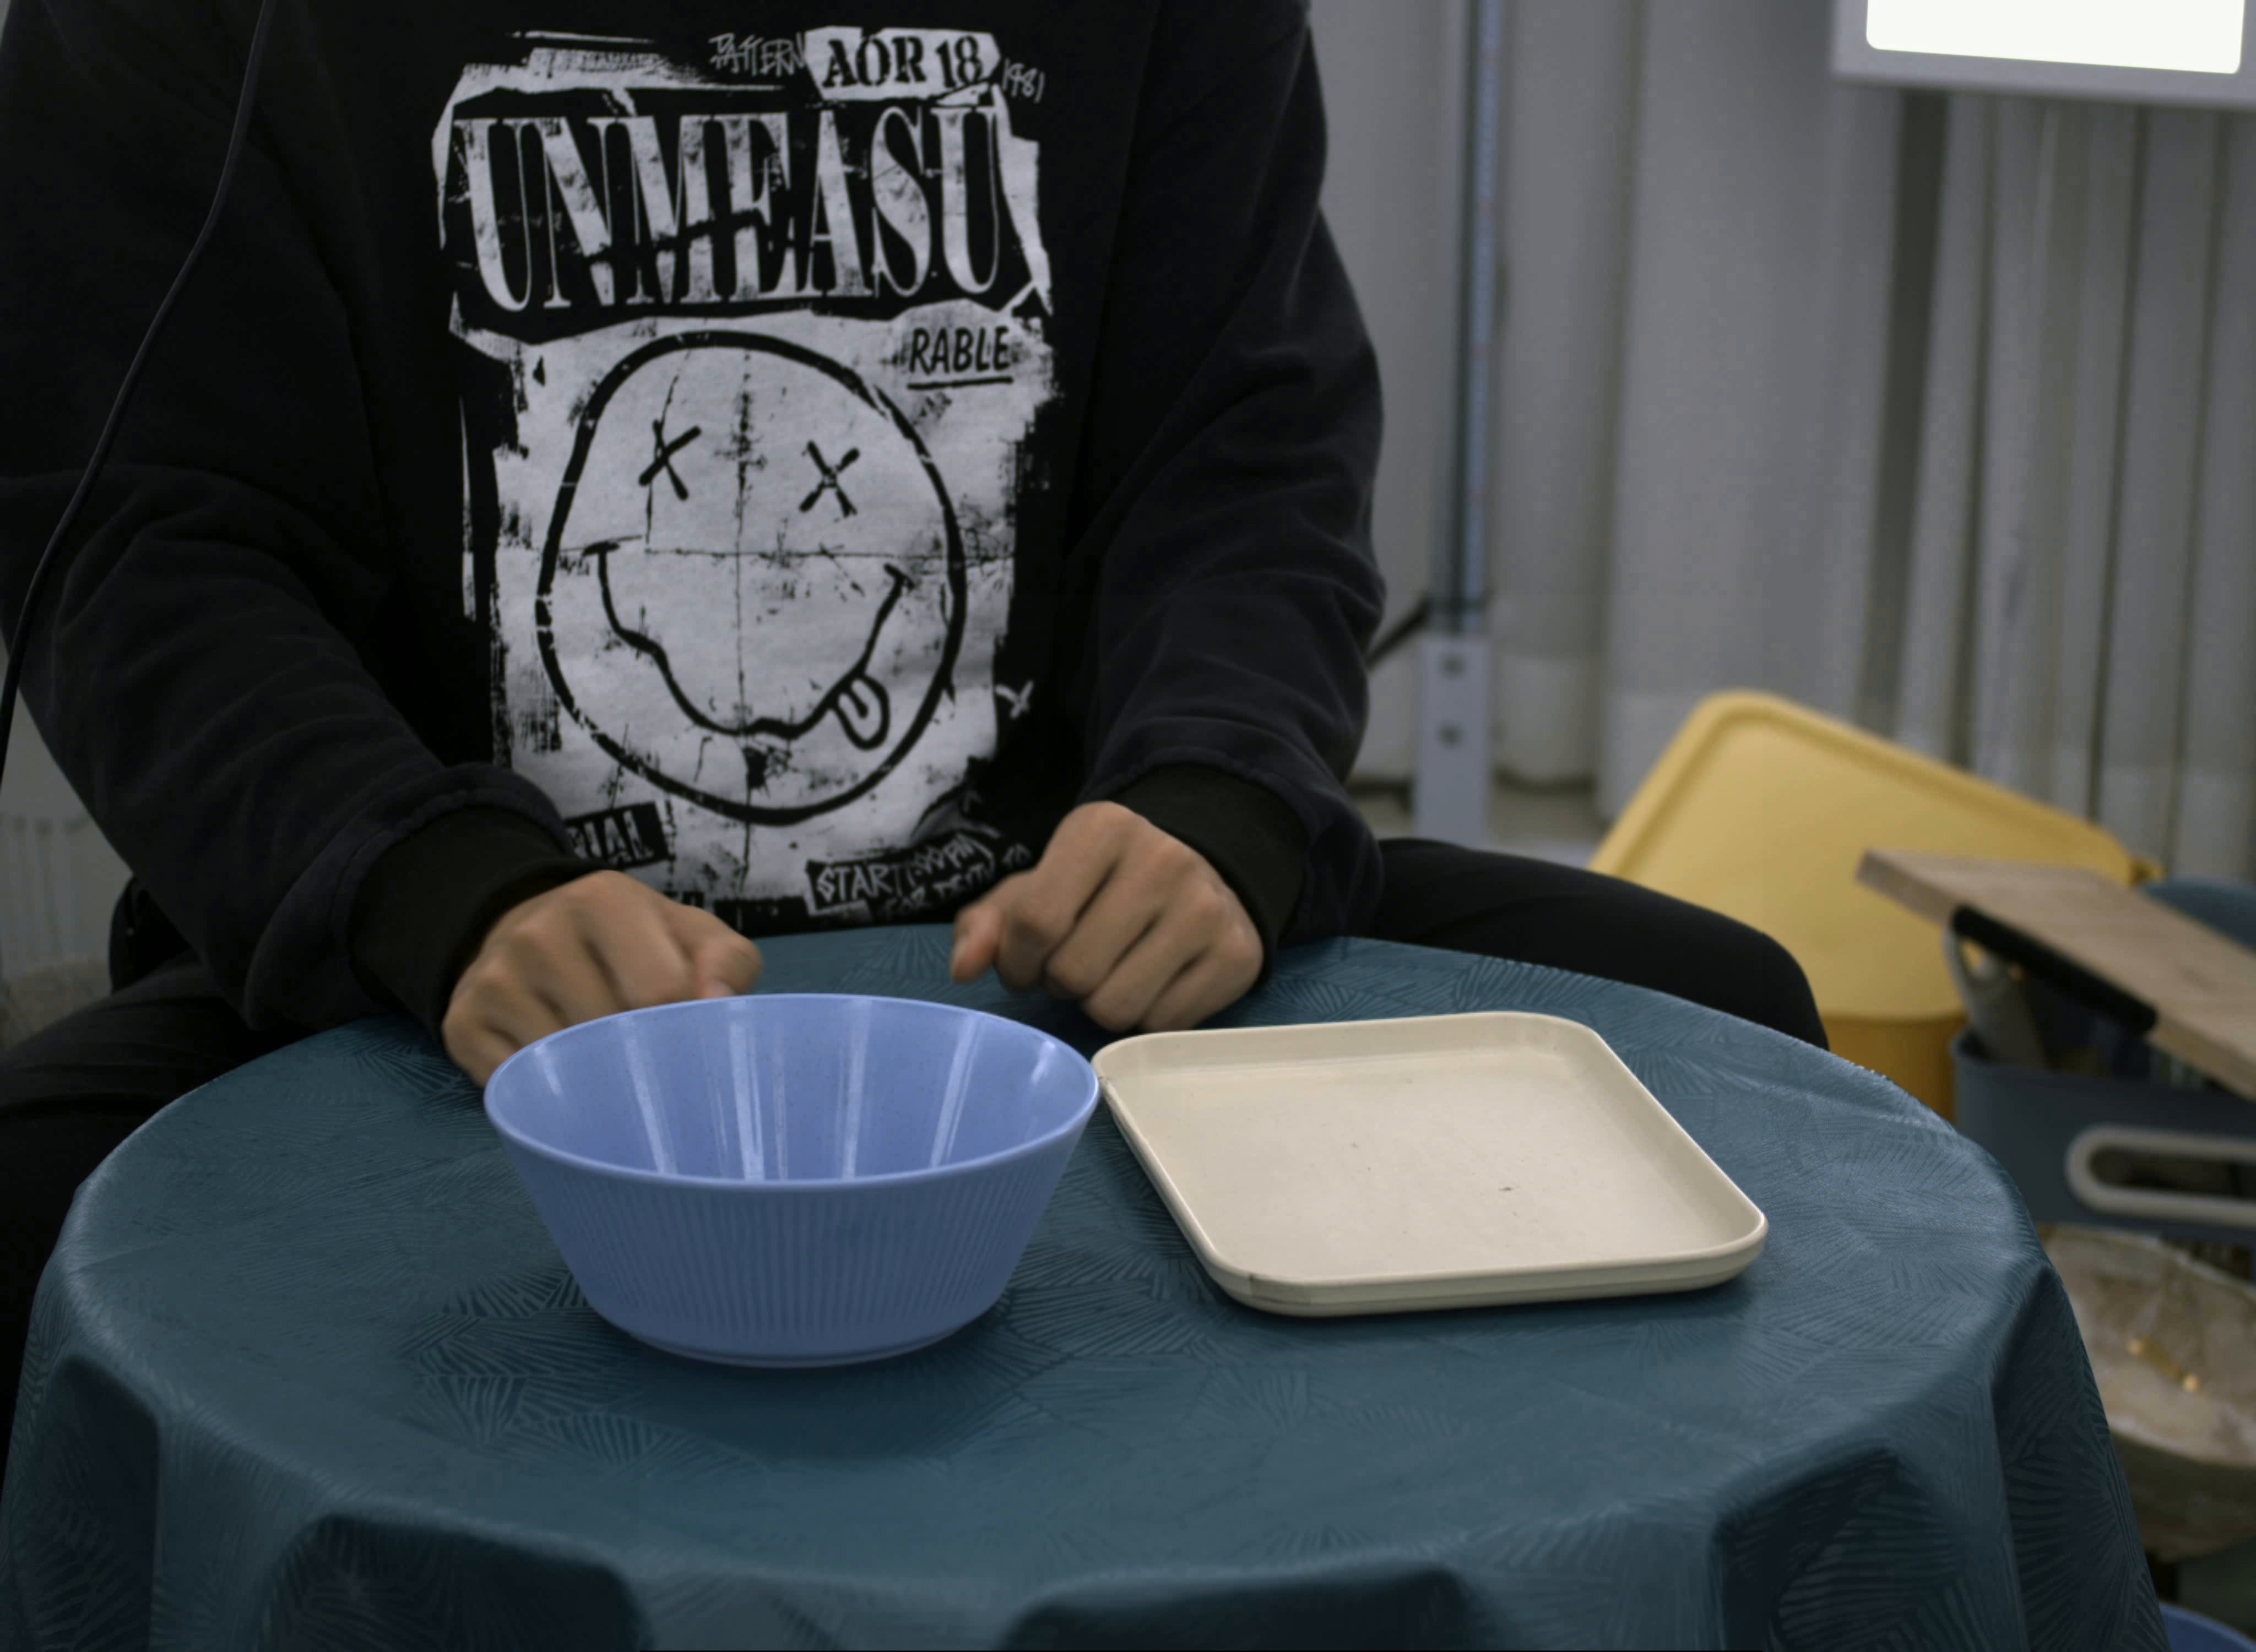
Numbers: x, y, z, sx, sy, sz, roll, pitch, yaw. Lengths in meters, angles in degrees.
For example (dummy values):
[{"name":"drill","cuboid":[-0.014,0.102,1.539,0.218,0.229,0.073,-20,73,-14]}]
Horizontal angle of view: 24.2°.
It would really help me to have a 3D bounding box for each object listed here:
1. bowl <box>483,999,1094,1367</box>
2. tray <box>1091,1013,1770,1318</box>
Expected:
[{"name":"bowl","cuboid":[-0.098,0.105,1.518,0.175,0.071,0.175,2,15,0]},{"name":"tray","cuboid":[0.089,0.104,1.630,0.171,0.017,0.237,-2,16,-11]}]
